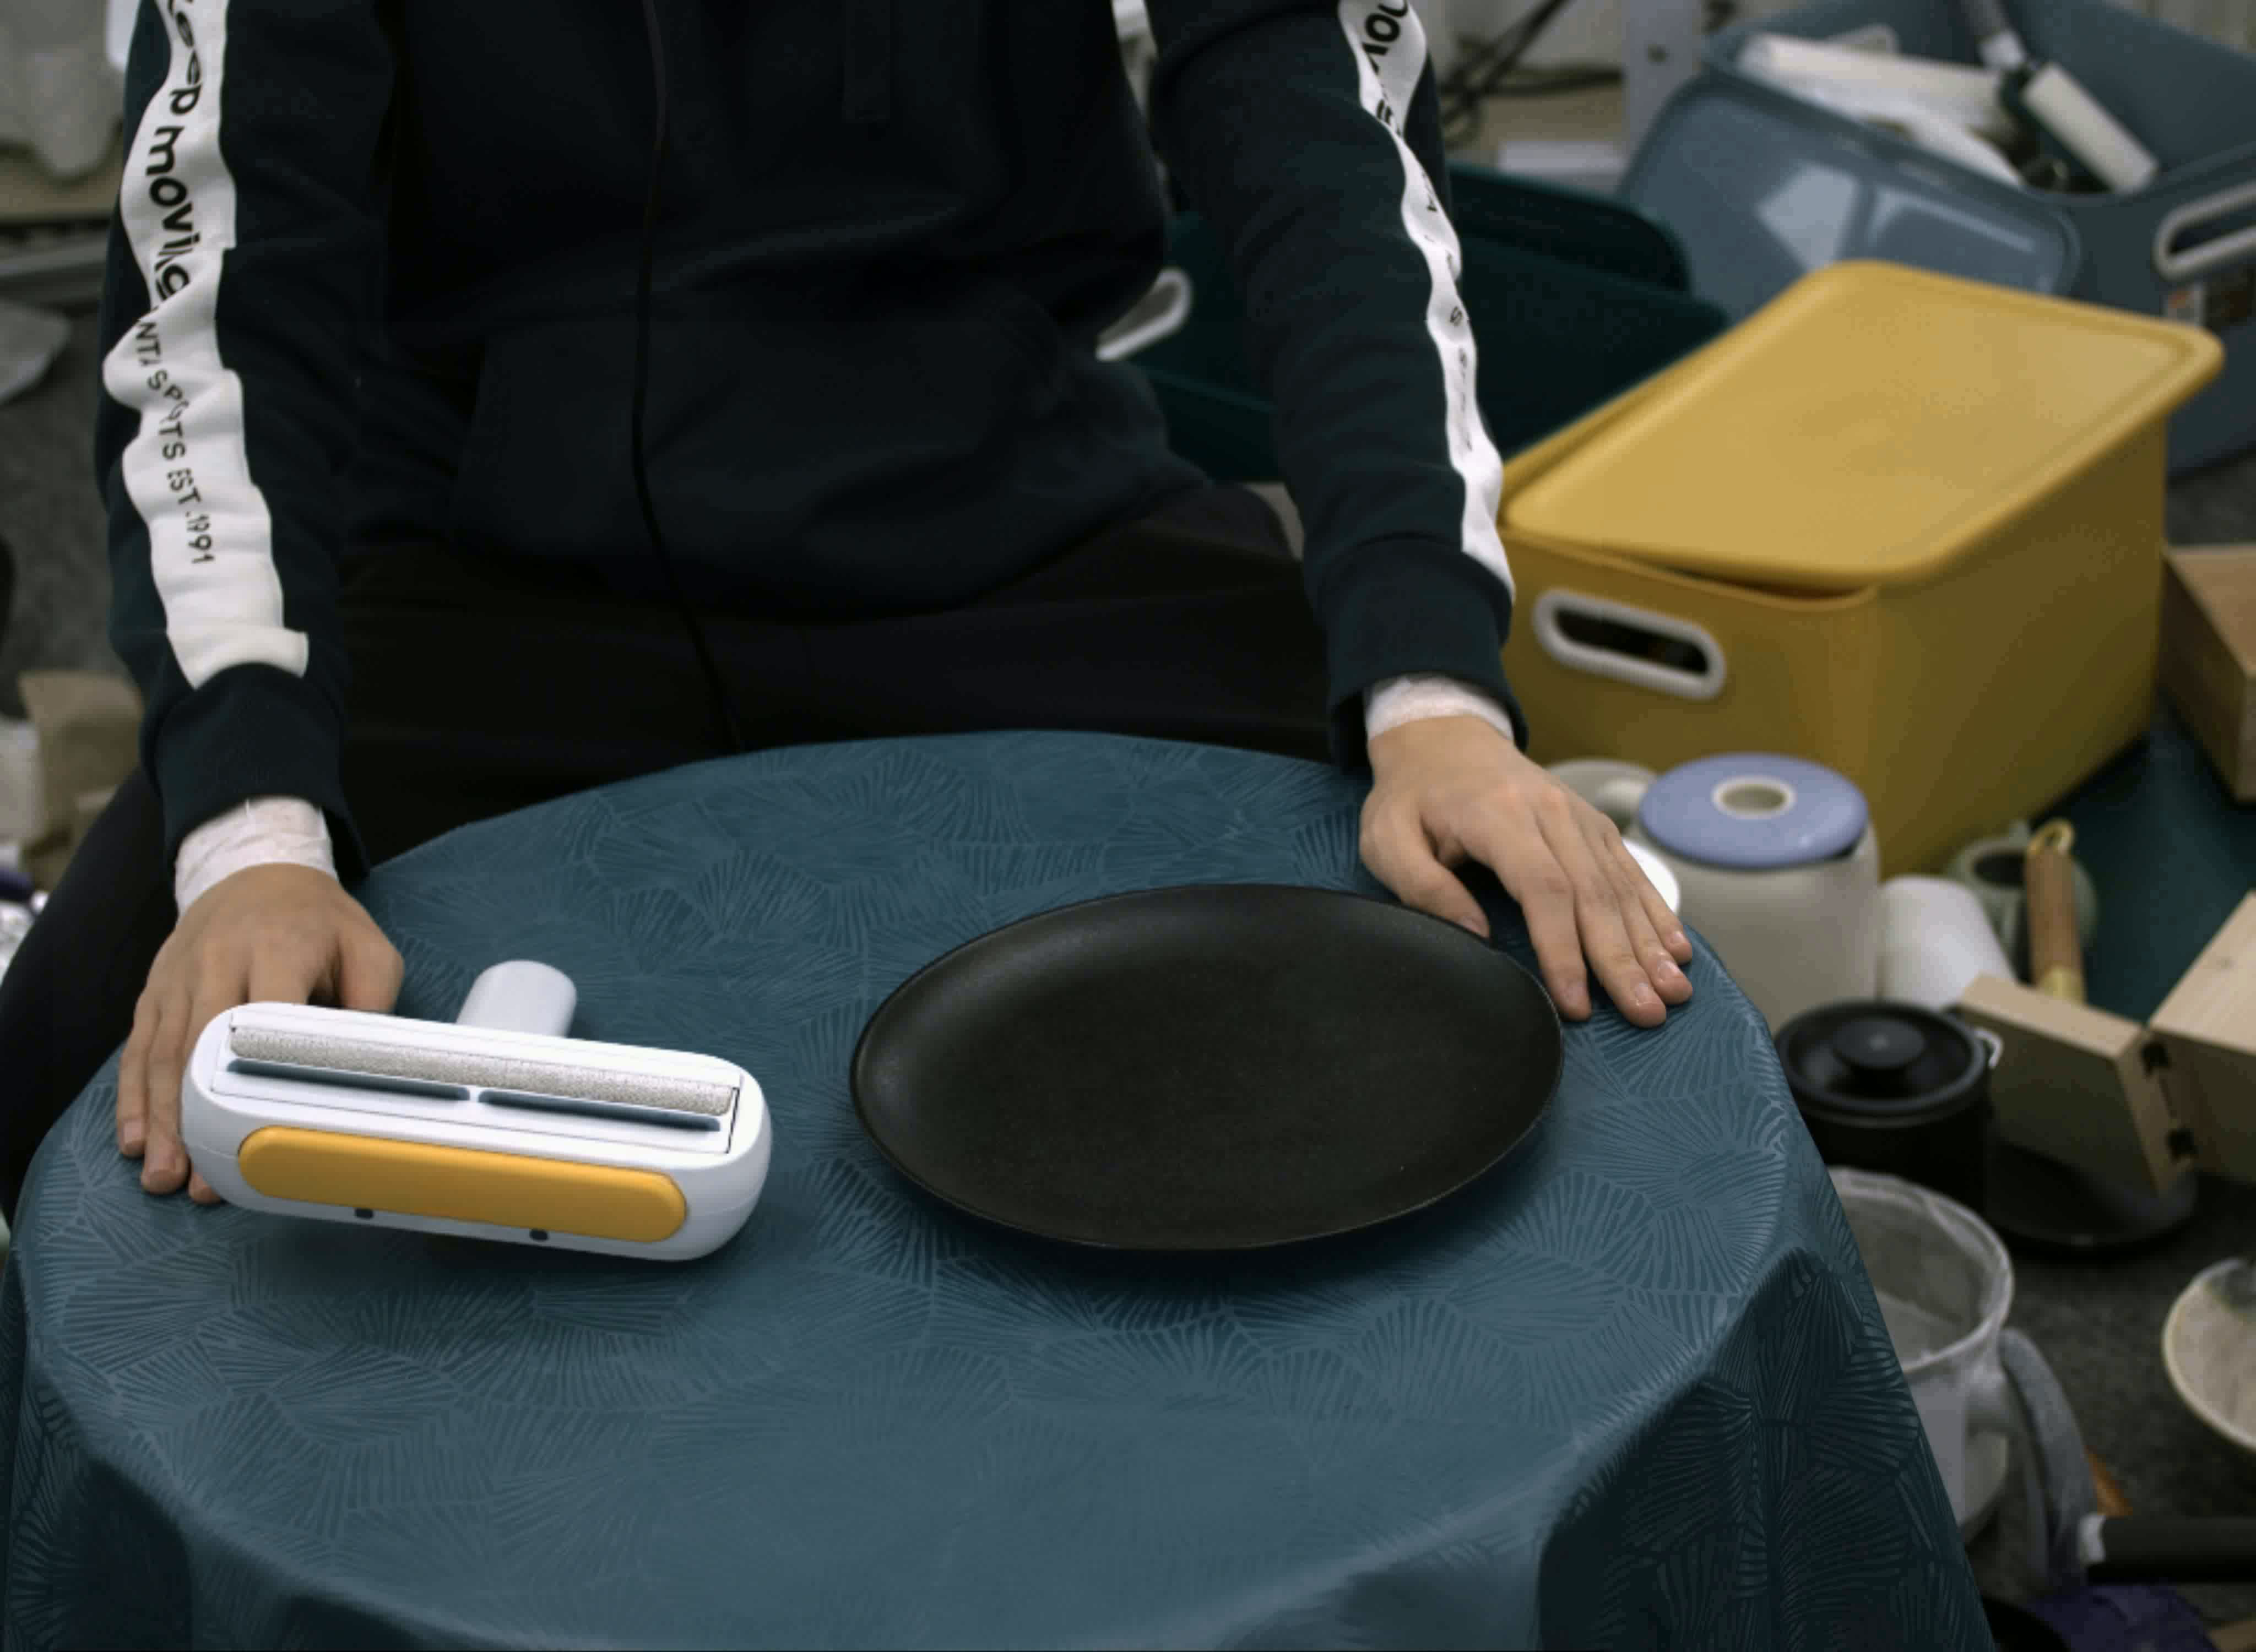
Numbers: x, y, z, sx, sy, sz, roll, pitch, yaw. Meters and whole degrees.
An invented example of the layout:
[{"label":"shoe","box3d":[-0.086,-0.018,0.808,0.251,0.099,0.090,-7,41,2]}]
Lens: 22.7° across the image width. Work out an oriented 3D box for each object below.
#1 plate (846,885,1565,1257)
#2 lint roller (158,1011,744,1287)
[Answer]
[{"label":"plate","box3d":[0.026,0.087,1.899,0.243,0.023,0.248,-2,27,1]},{"label":"lint roller","box3d":[-0.215,0.099,1.893,0.192,0.074,0.194,7,14,5]}]
